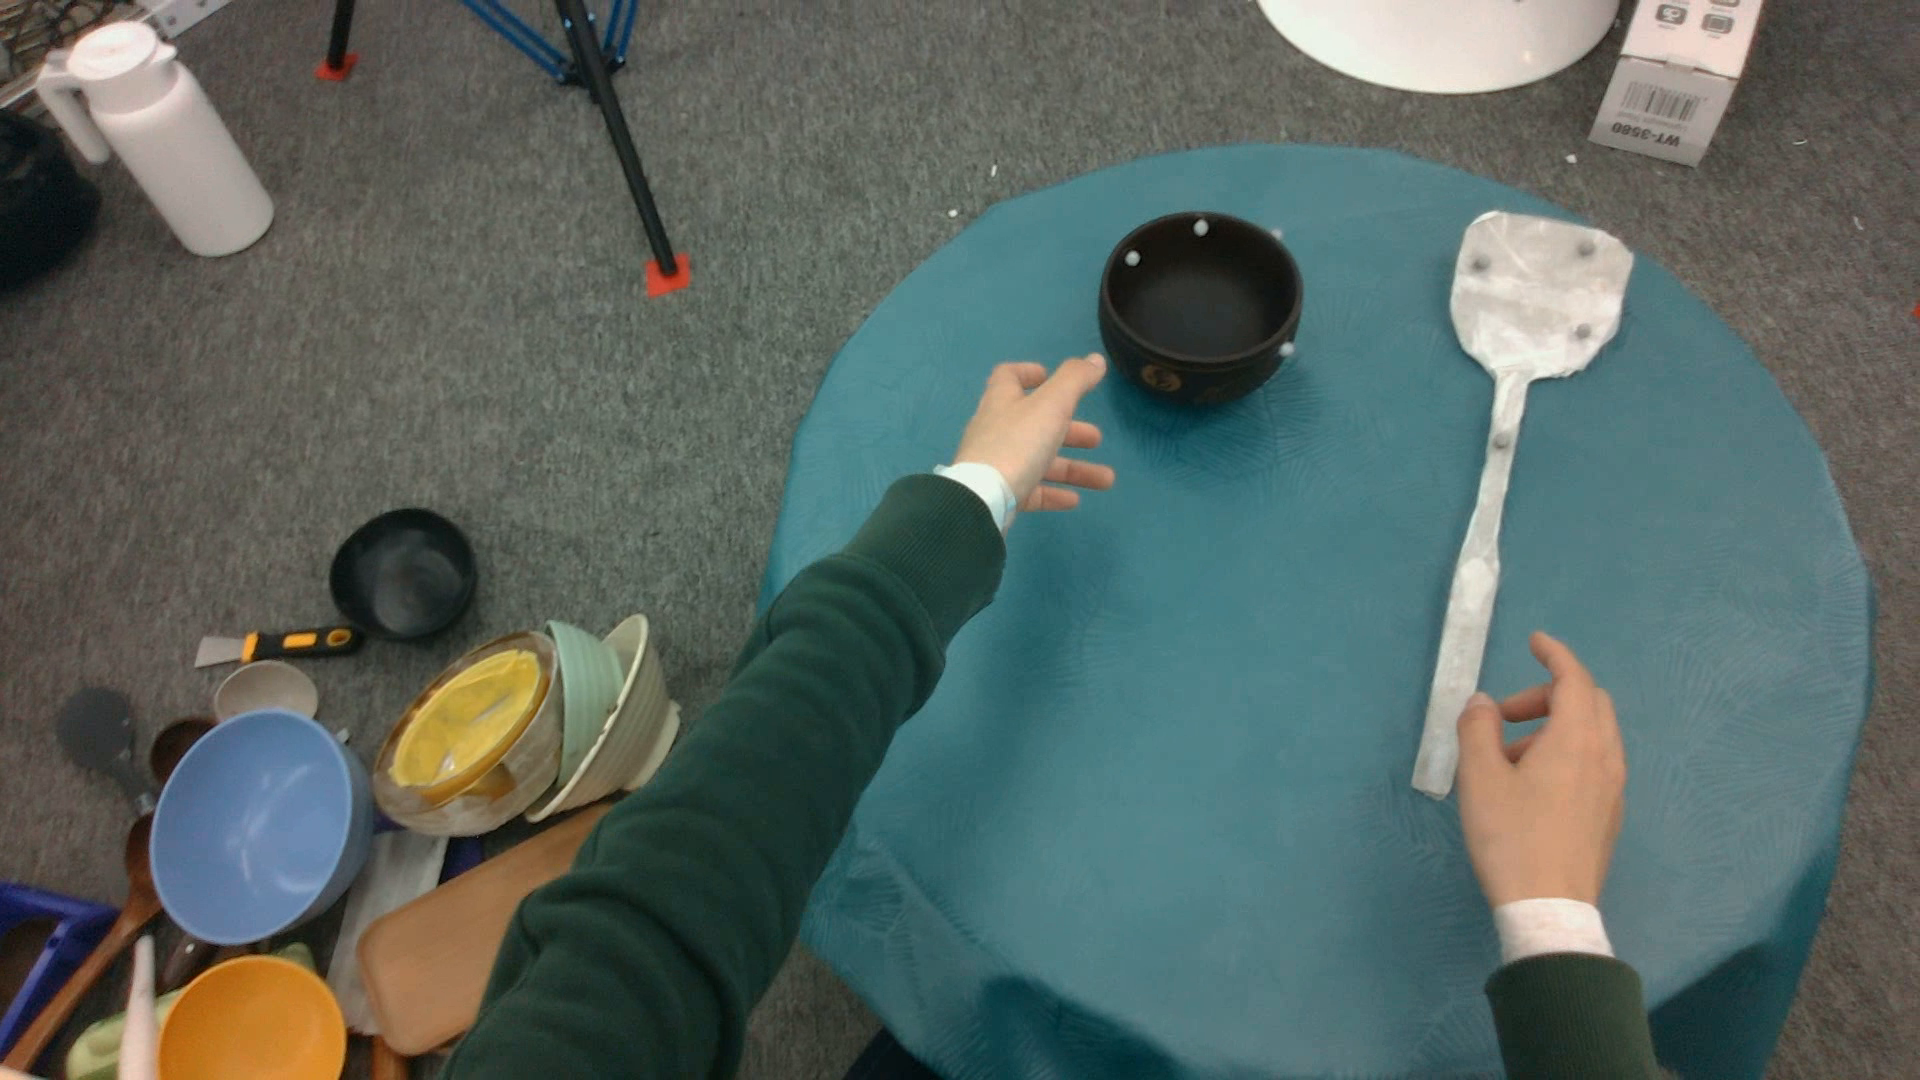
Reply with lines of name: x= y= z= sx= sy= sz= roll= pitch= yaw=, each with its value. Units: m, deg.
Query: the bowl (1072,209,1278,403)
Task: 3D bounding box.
bowl: x=0.125 y=-0.130 z=0.813 sx=0.118 sy=0.069 sz=0.118 roll=-2 pitch=58 yaw=3

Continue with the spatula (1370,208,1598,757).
spatula: x=0.282 y=-0.043 z=0.771 sx=0.098 sy=0.044 sz=0.366 roll=17 pitch=60 yaw=11
